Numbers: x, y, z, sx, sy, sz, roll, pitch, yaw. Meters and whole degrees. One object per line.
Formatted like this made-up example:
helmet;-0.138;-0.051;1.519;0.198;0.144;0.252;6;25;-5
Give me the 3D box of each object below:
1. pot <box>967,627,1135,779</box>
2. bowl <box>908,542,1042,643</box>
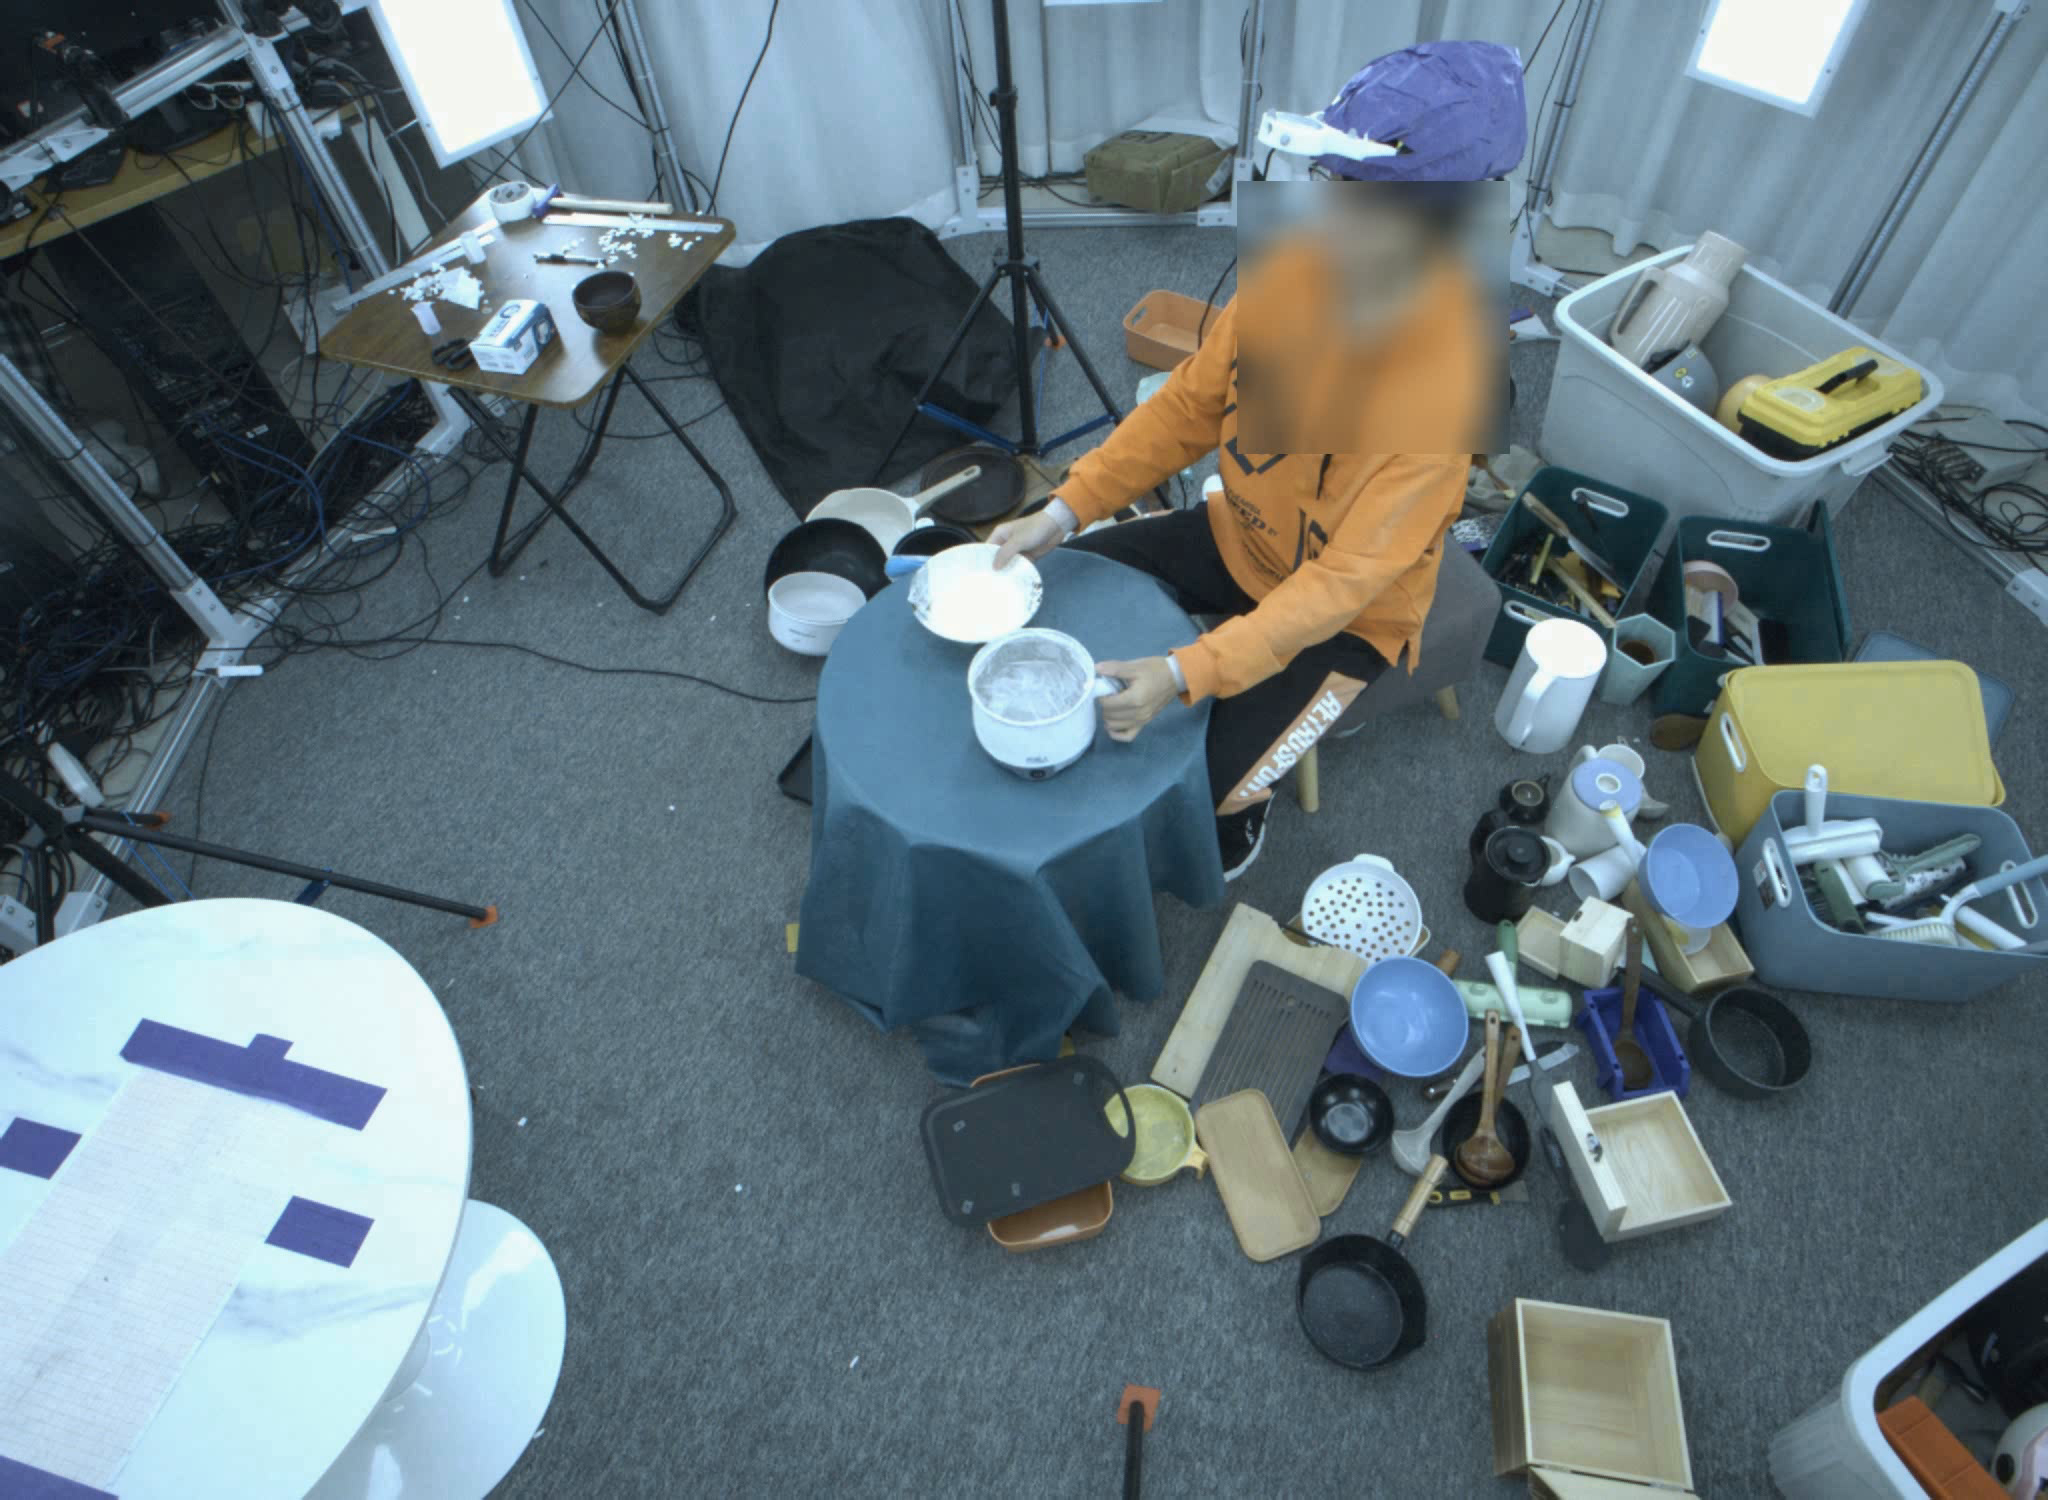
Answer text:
pot;0.041;-0.068;1.749;0.234;0.138;0.176;-4;55;0
bowl;-0.074;-0.223;1.898;0.204;0.078;0.202;1;55;0
